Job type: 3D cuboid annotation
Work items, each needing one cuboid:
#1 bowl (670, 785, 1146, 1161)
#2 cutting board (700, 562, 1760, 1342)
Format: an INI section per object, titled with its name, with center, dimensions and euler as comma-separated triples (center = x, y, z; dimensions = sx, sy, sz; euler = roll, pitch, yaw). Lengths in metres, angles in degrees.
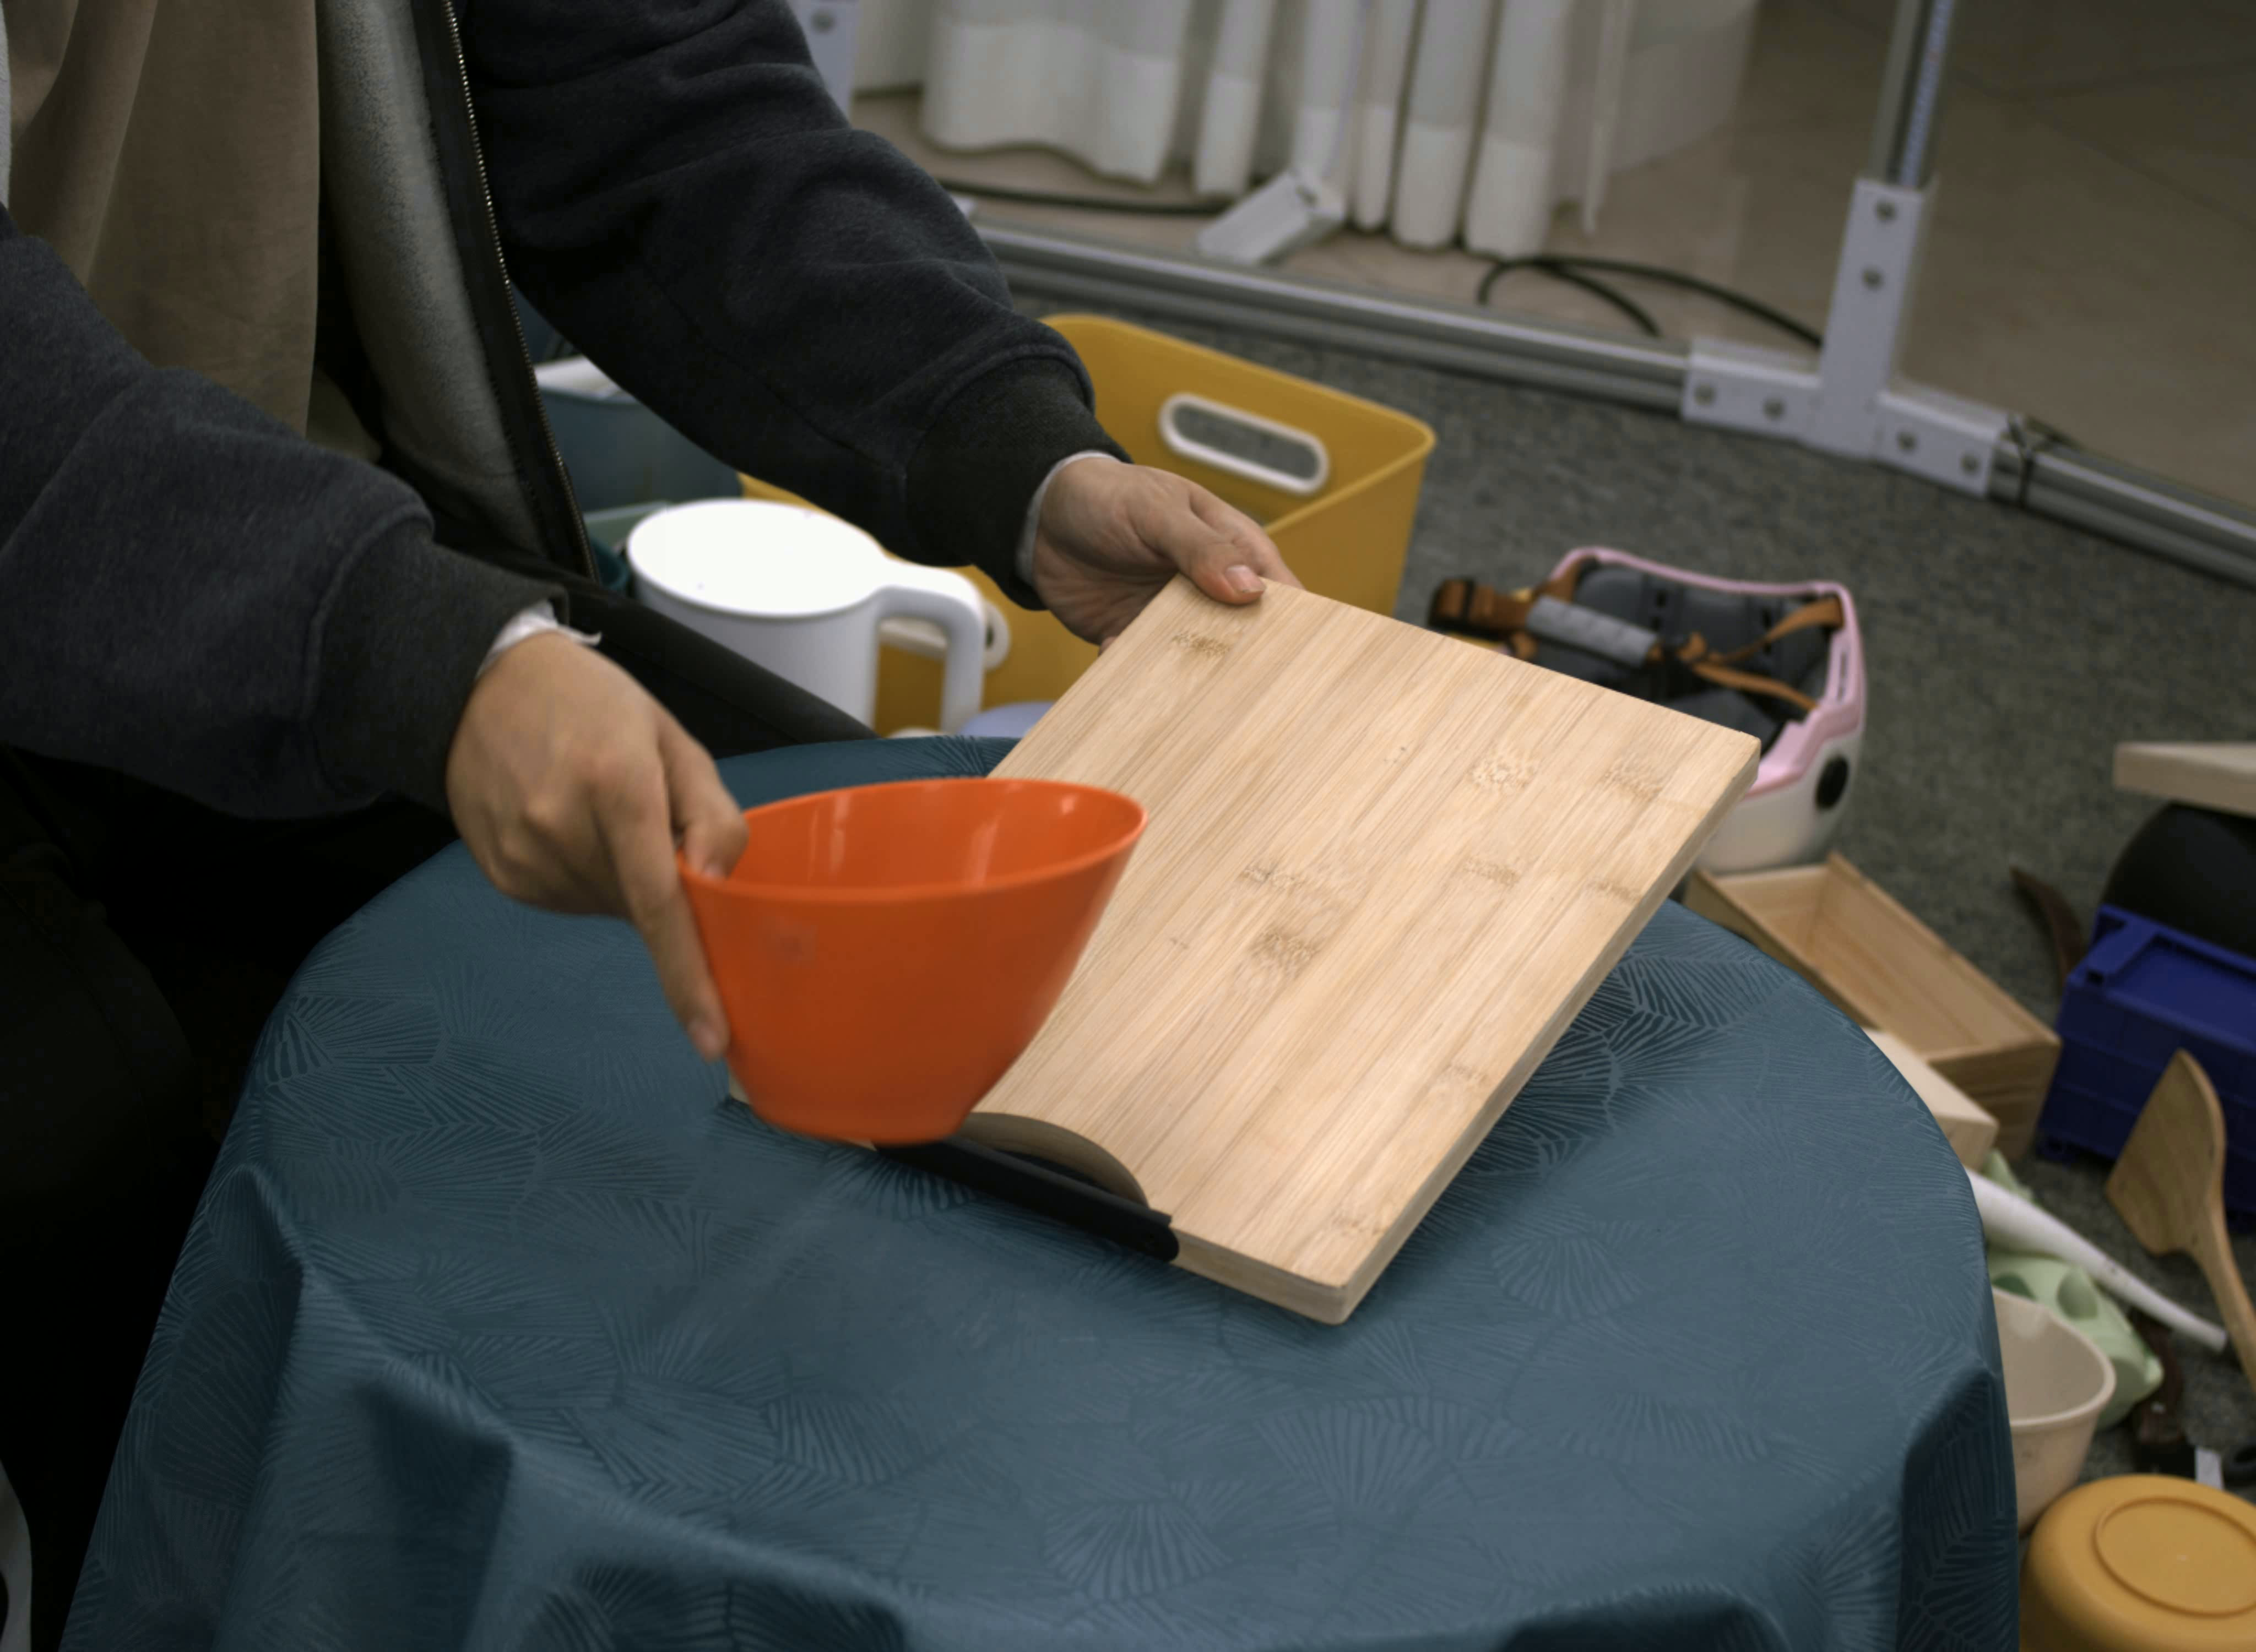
[bowl]
center = -0.072, 0.047, 1.671
dimensions = 0.147, 0.104, 0.148
euler = 6, 13, -2
[cutting board]
center = 0.044, 0.034, 1.890
dimensions = 0.252, 0.023, 0.349
euler = 18, 41, 23
